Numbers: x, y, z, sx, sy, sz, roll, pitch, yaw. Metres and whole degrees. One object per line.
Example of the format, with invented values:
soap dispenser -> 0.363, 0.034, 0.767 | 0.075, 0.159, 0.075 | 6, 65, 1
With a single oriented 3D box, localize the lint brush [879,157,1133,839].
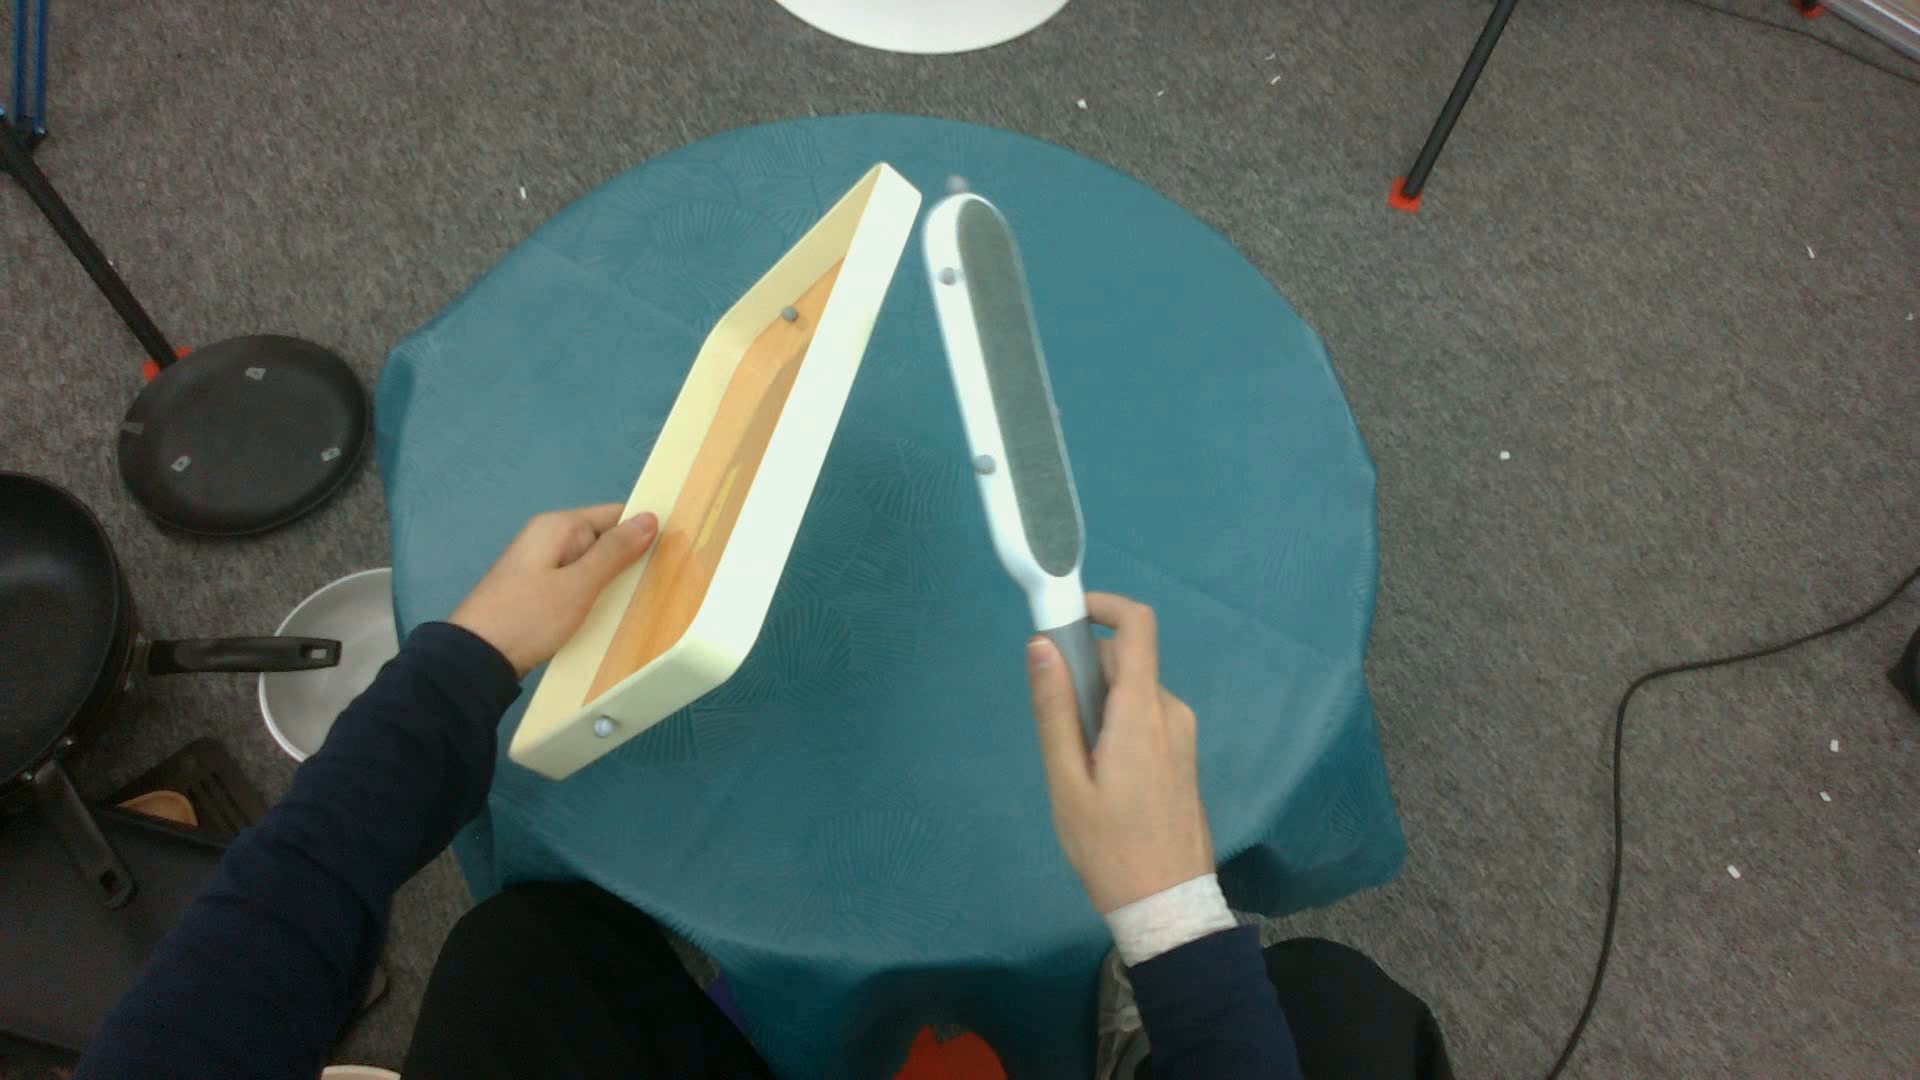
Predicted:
lint brush -> 0.022, -0.016, 0.597 | 0.021, 0.060, 0.308 | -15, 94, 29

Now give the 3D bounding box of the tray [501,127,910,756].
tray -> -0.118, -0.051, 0.659 | 0.027, 0.190, 0.302 | 33, 52, -24
